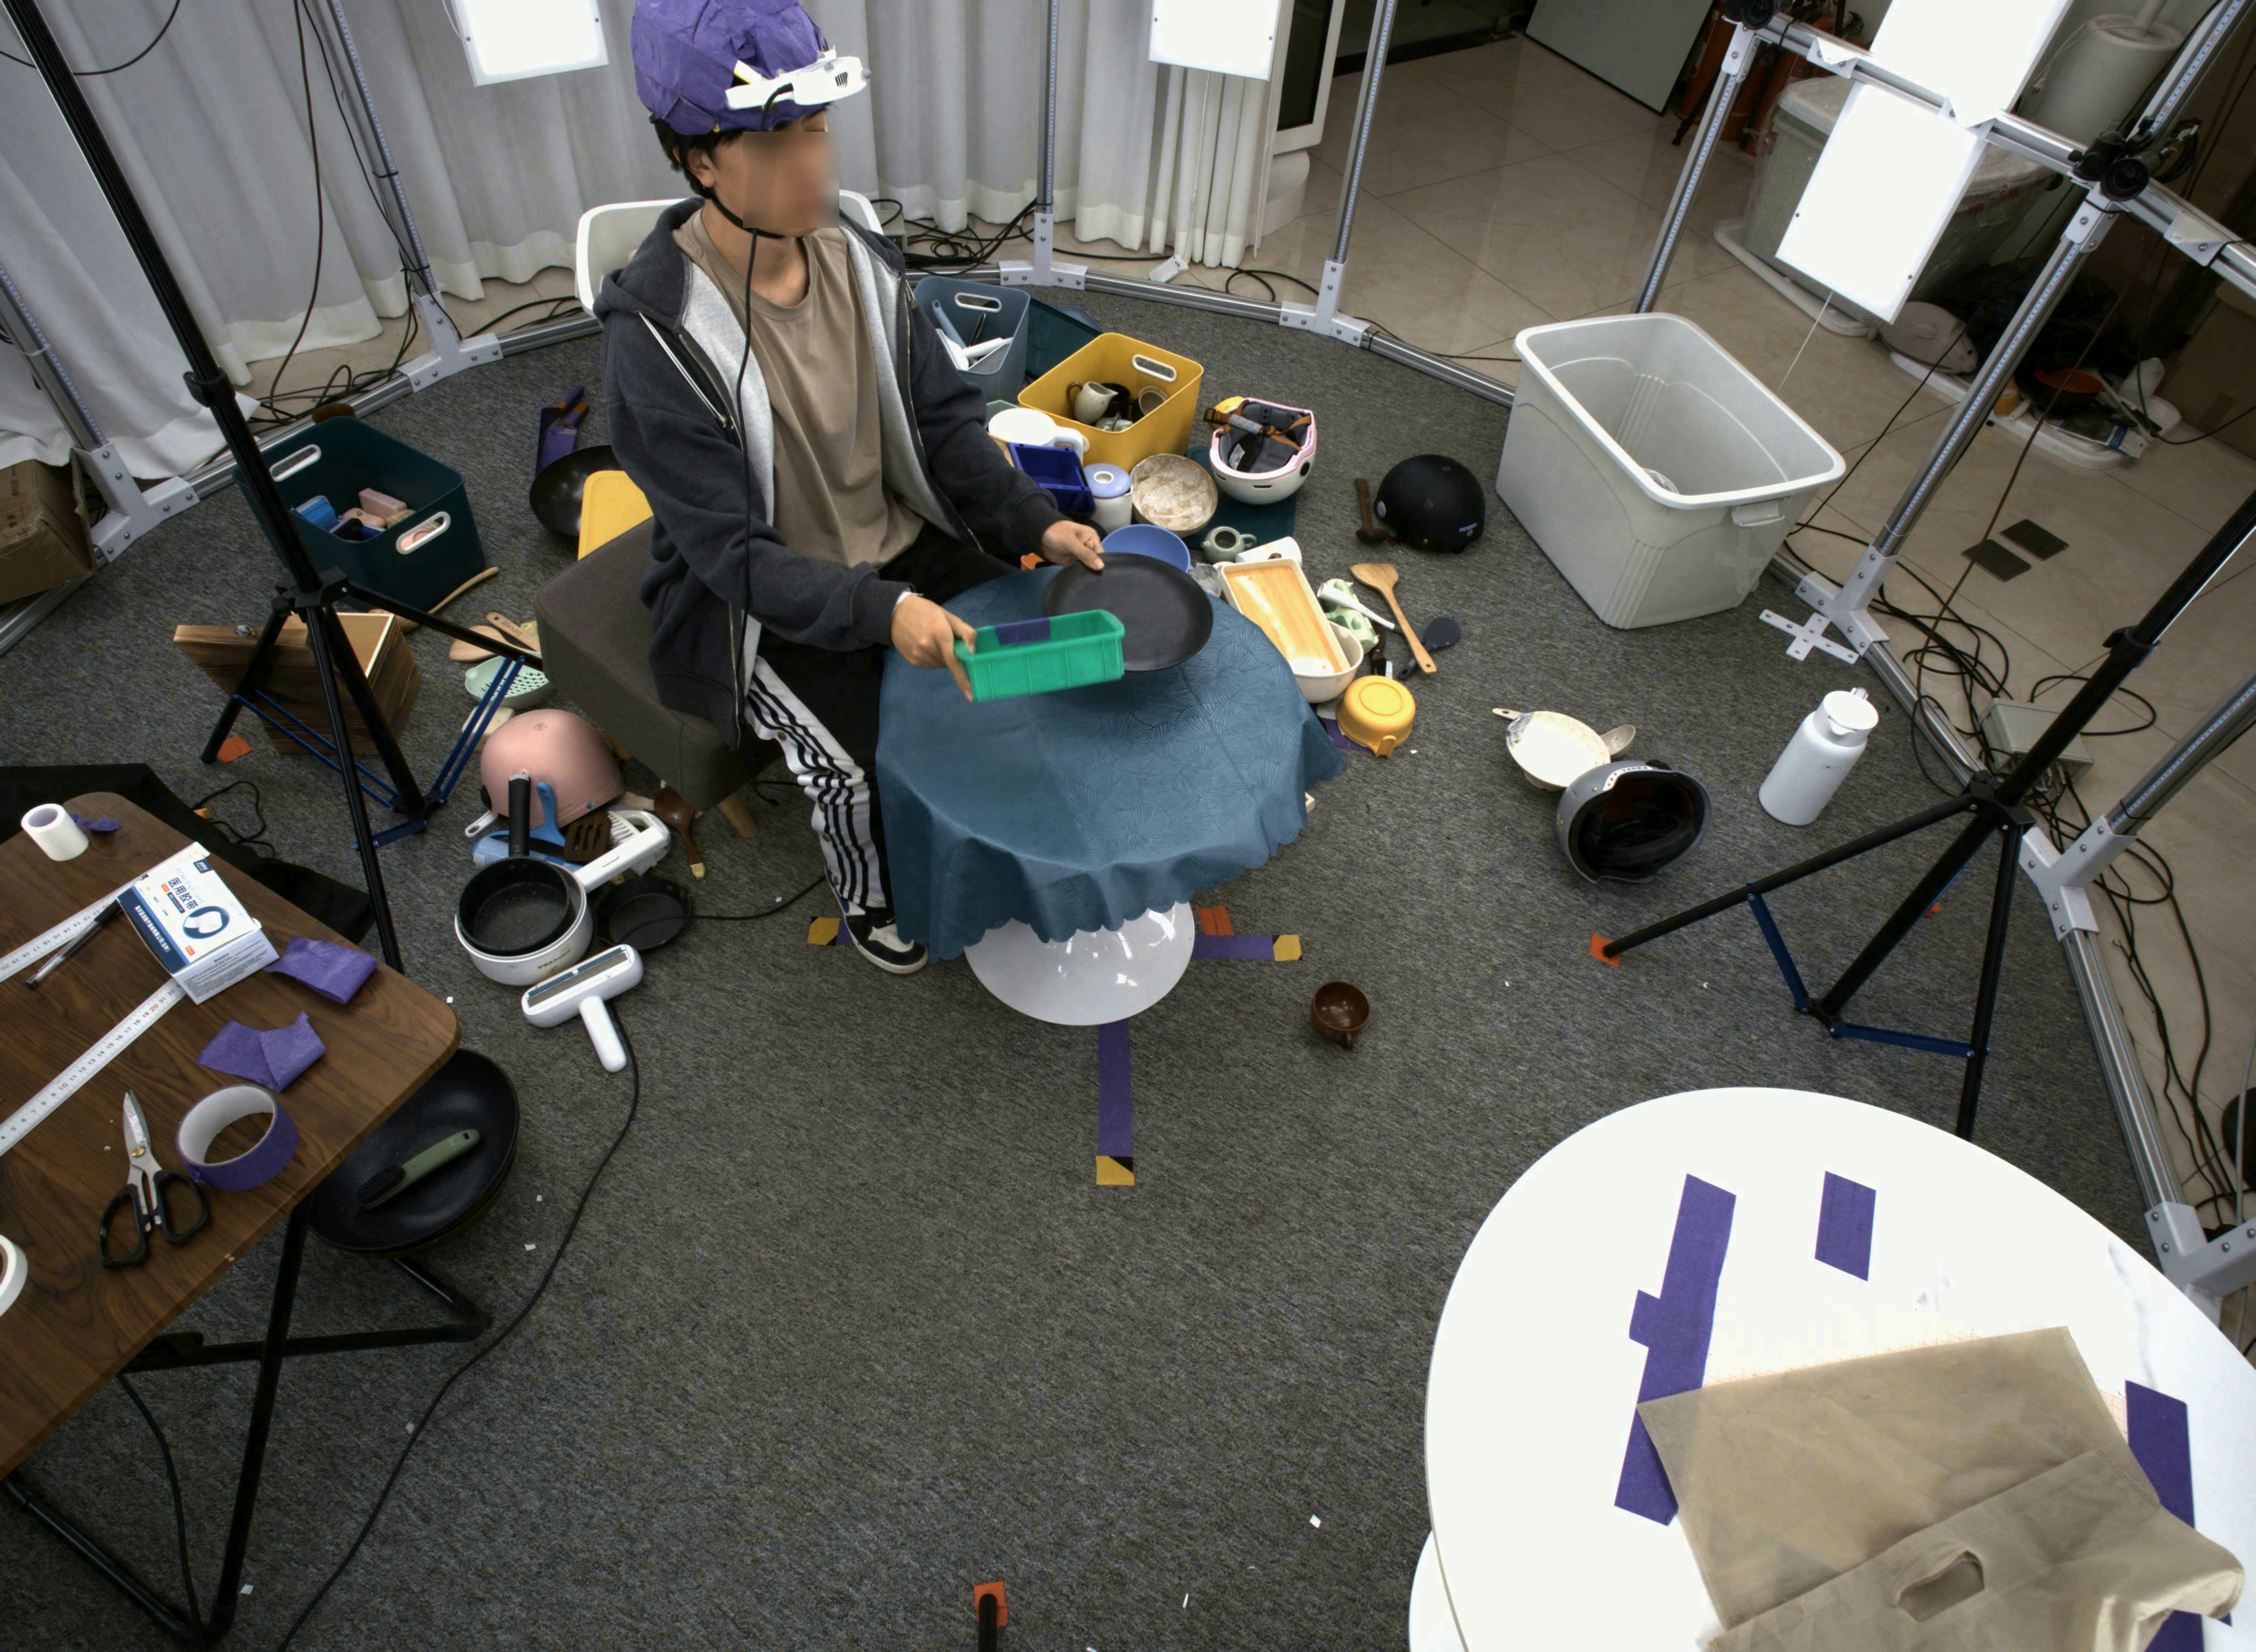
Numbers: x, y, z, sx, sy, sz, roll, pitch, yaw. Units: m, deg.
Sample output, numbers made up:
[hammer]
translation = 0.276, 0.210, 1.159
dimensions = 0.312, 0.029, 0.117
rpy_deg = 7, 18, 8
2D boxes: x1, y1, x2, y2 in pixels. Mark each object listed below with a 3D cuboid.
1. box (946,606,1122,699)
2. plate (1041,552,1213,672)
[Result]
[box]
translation = -0.114, -0.215, 1.589
dimensions = 0.210, 0.064, 0.141
rpy_deg = -12, 20, -10
[plate]
translation = -0.002, -0.301, 1.822
dimensions = 0.244, 0.023, 0.250
rpy_deg = 3, 51, -4
